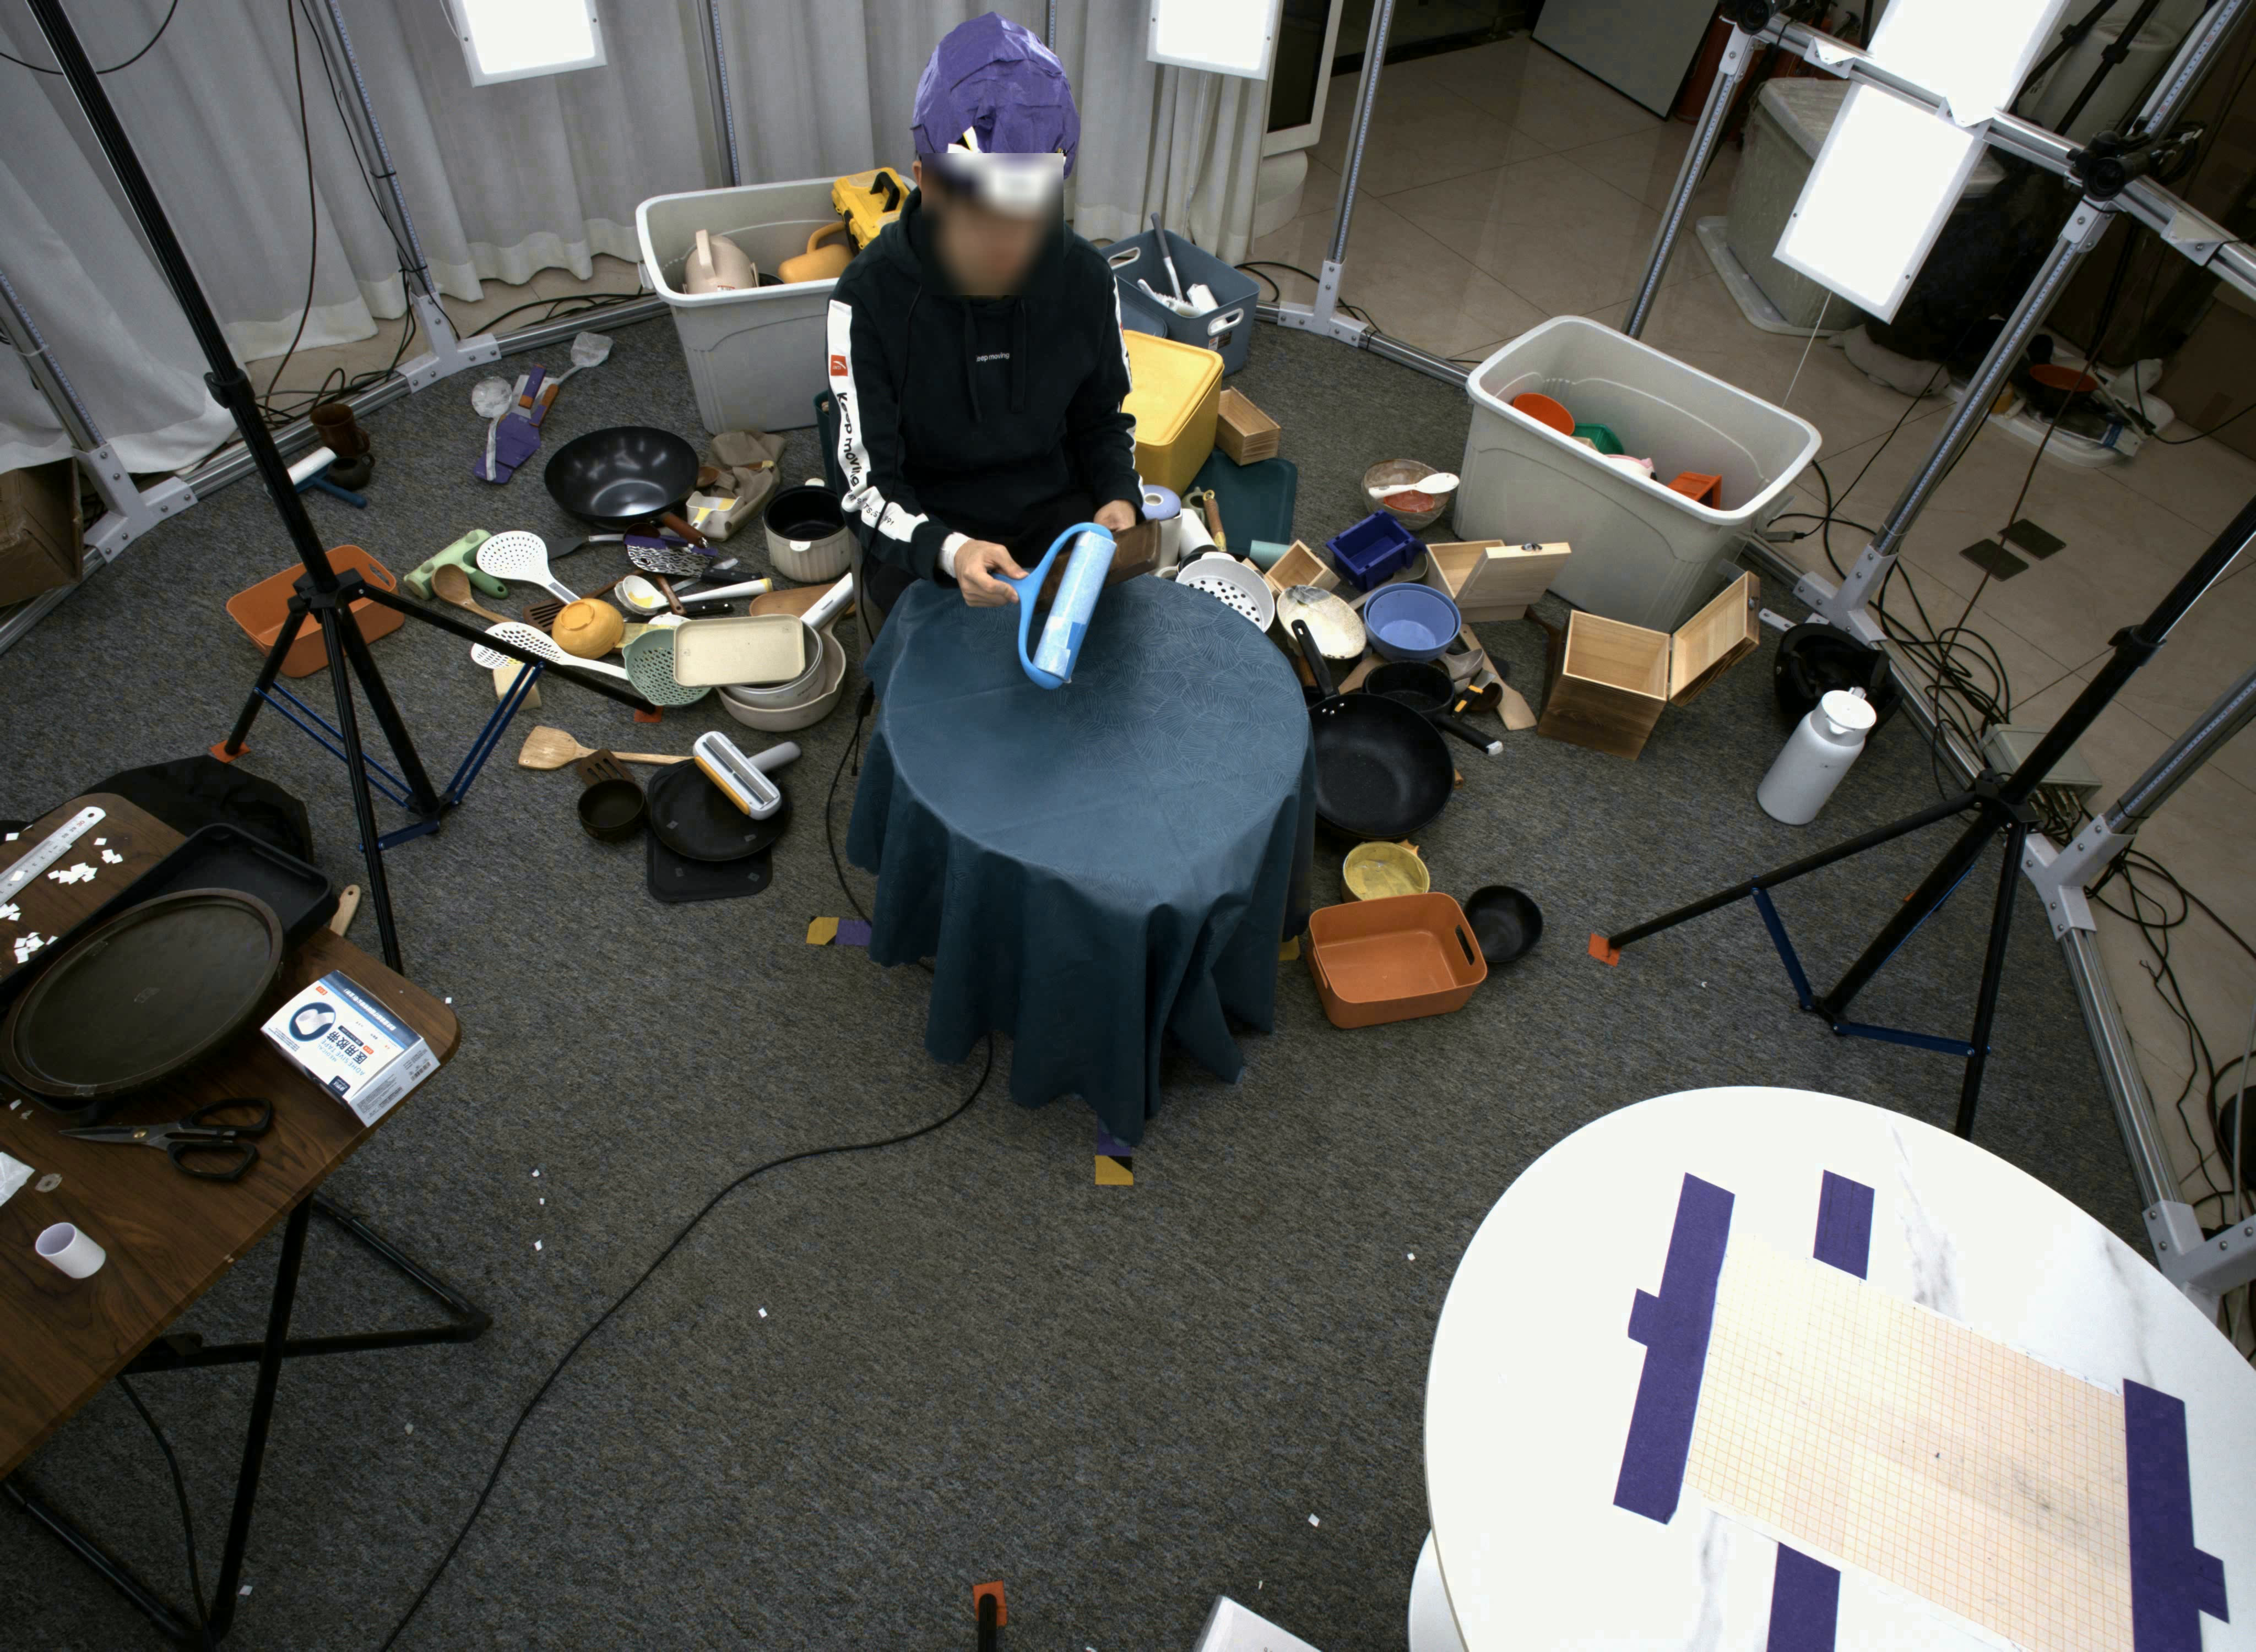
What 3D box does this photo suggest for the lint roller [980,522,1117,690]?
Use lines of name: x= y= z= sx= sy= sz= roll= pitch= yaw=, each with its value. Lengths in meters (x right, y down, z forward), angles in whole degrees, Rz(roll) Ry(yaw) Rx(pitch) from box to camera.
lint roller: x=-0.126 y=-0.306 z=1.716 sx=0.181 sy=0.067 sz=0.229 roll=16 pitch=87 yaw=17

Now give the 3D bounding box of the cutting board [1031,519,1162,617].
cutting board: x=-0.045 y=-0.394 z=1.893 sx=0.200 sy=0.023 sz=0.358 roll=-19 pitch=22 yaw=10
